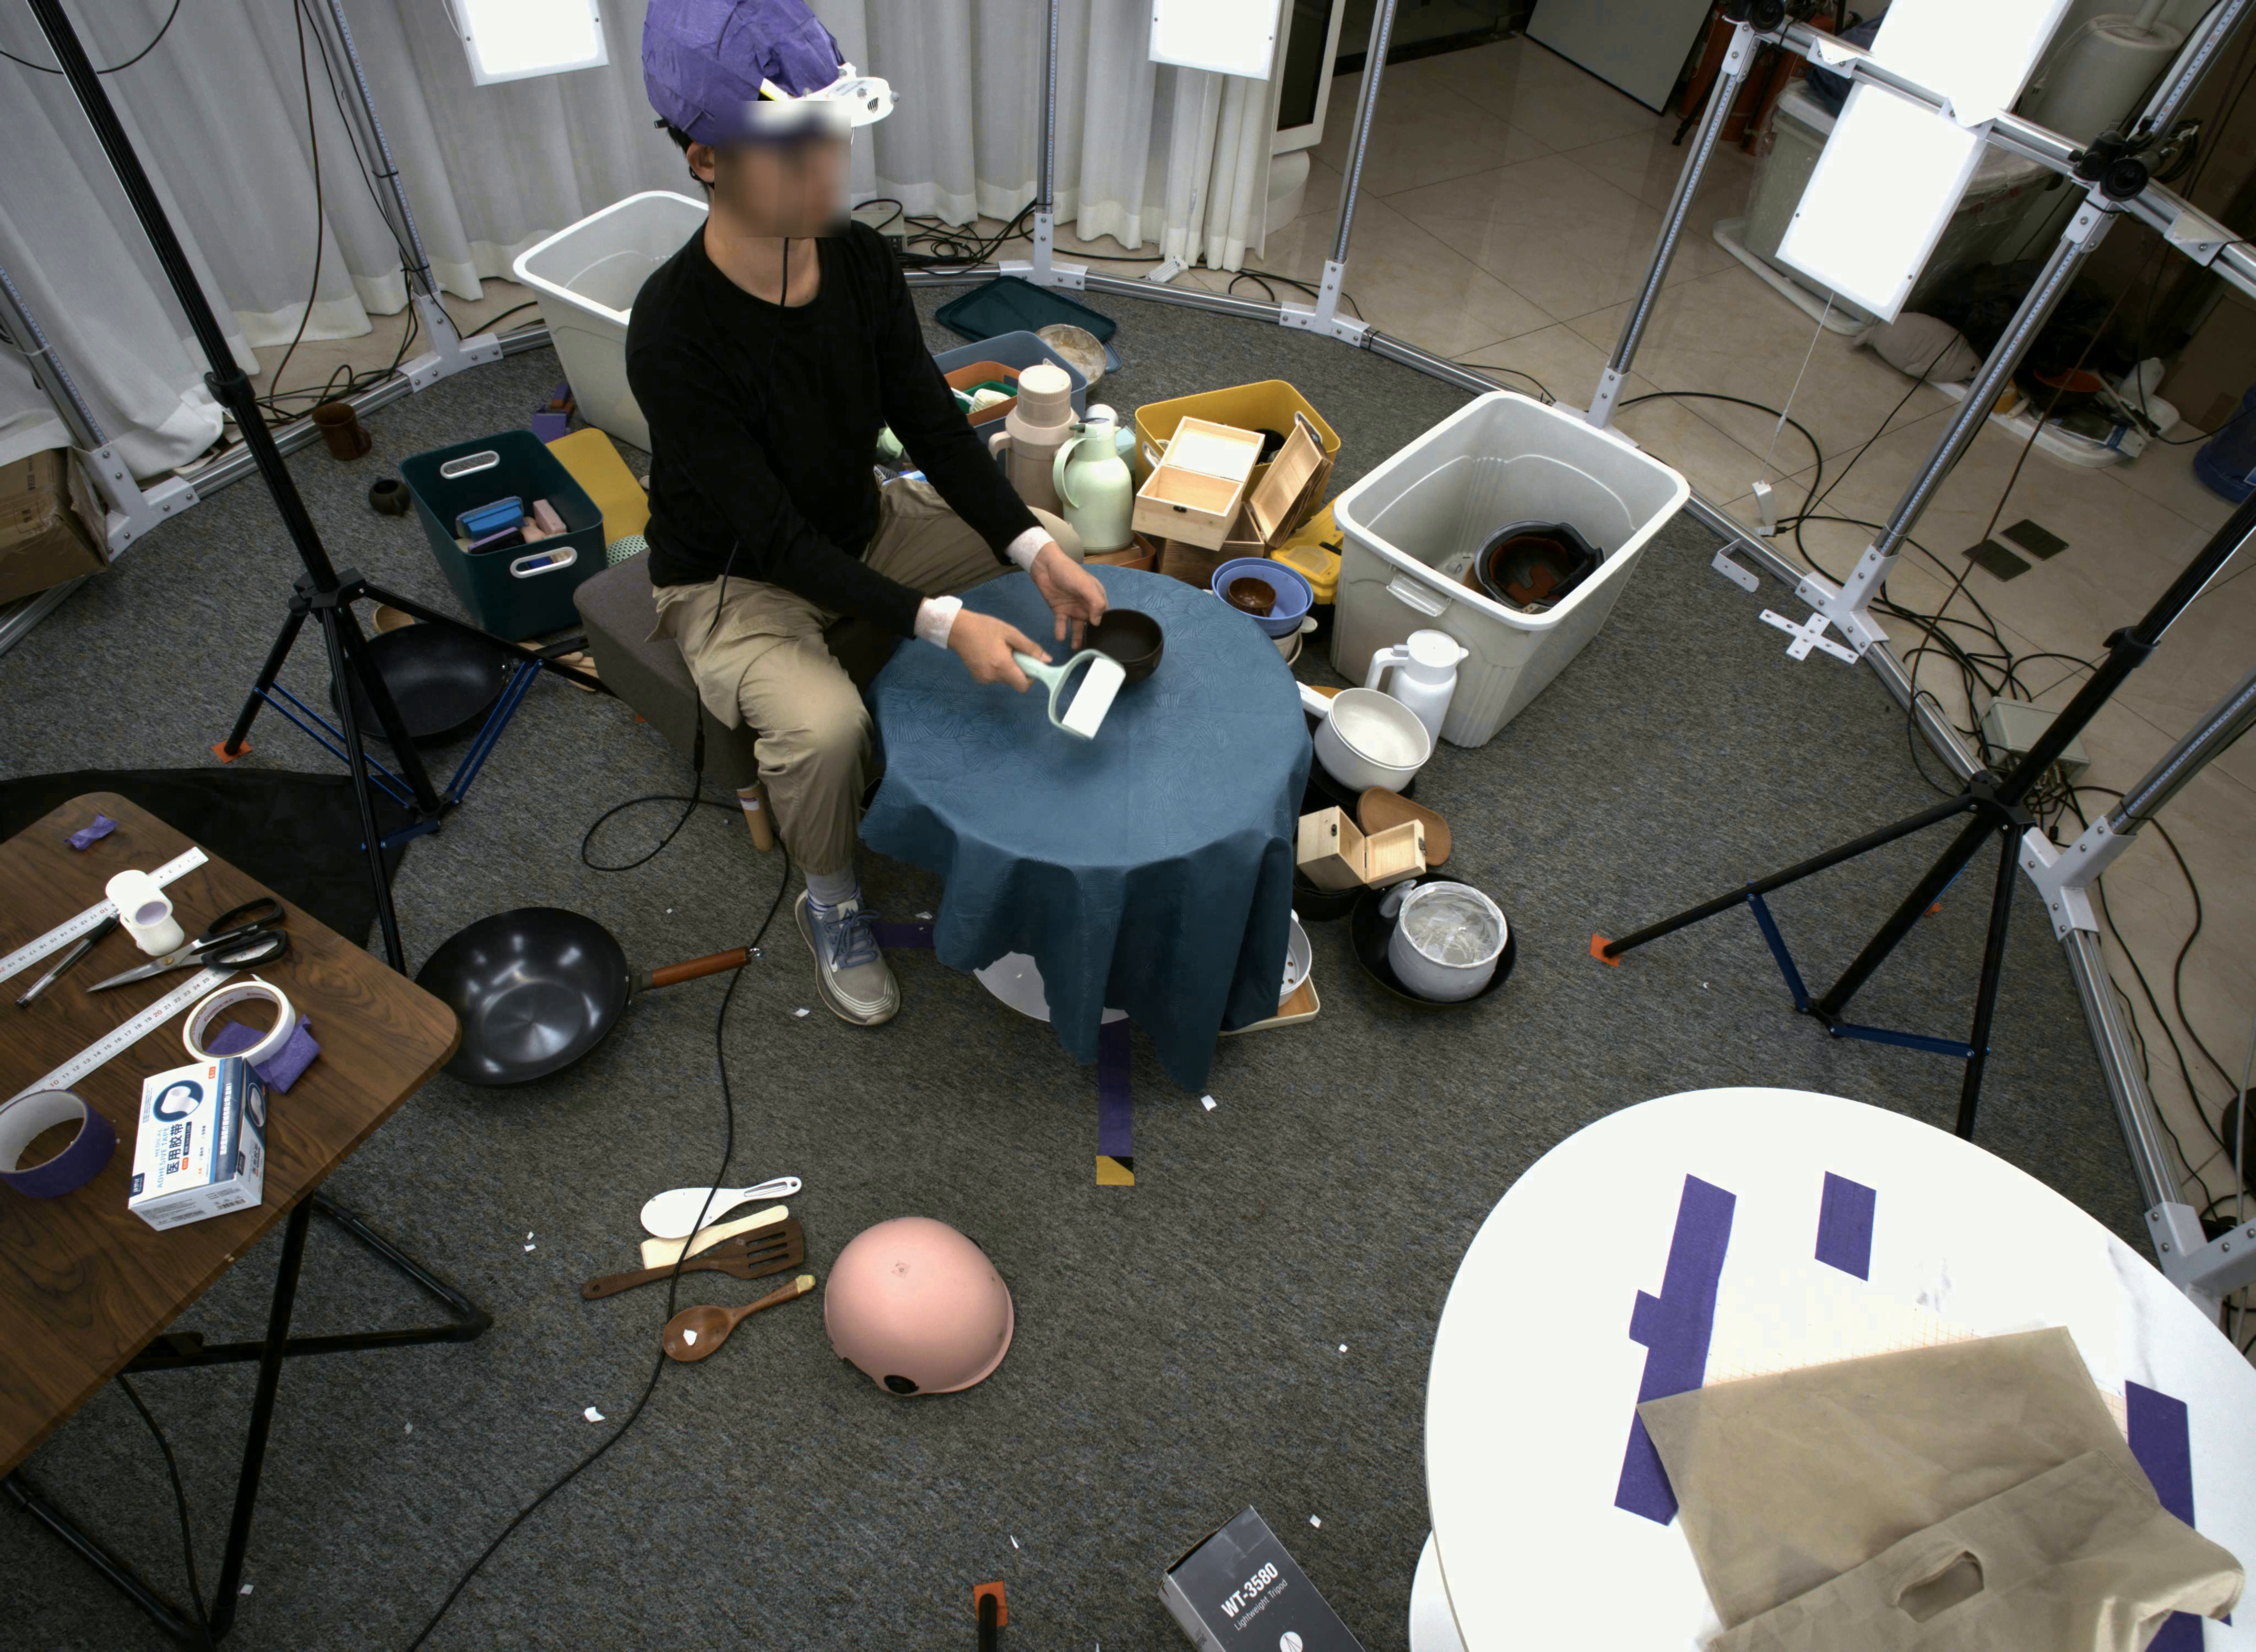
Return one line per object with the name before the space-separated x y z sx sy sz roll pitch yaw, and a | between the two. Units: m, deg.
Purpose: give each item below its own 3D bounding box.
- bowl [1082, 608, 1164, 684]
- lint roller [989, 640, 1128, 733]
bowl | -0.007 -0.249 1.839 0.118 0.068 0.121 1 48 -1
lint roller | -0.105 -0.214 1.737 0.199 0.048 0.116 26 90 15
